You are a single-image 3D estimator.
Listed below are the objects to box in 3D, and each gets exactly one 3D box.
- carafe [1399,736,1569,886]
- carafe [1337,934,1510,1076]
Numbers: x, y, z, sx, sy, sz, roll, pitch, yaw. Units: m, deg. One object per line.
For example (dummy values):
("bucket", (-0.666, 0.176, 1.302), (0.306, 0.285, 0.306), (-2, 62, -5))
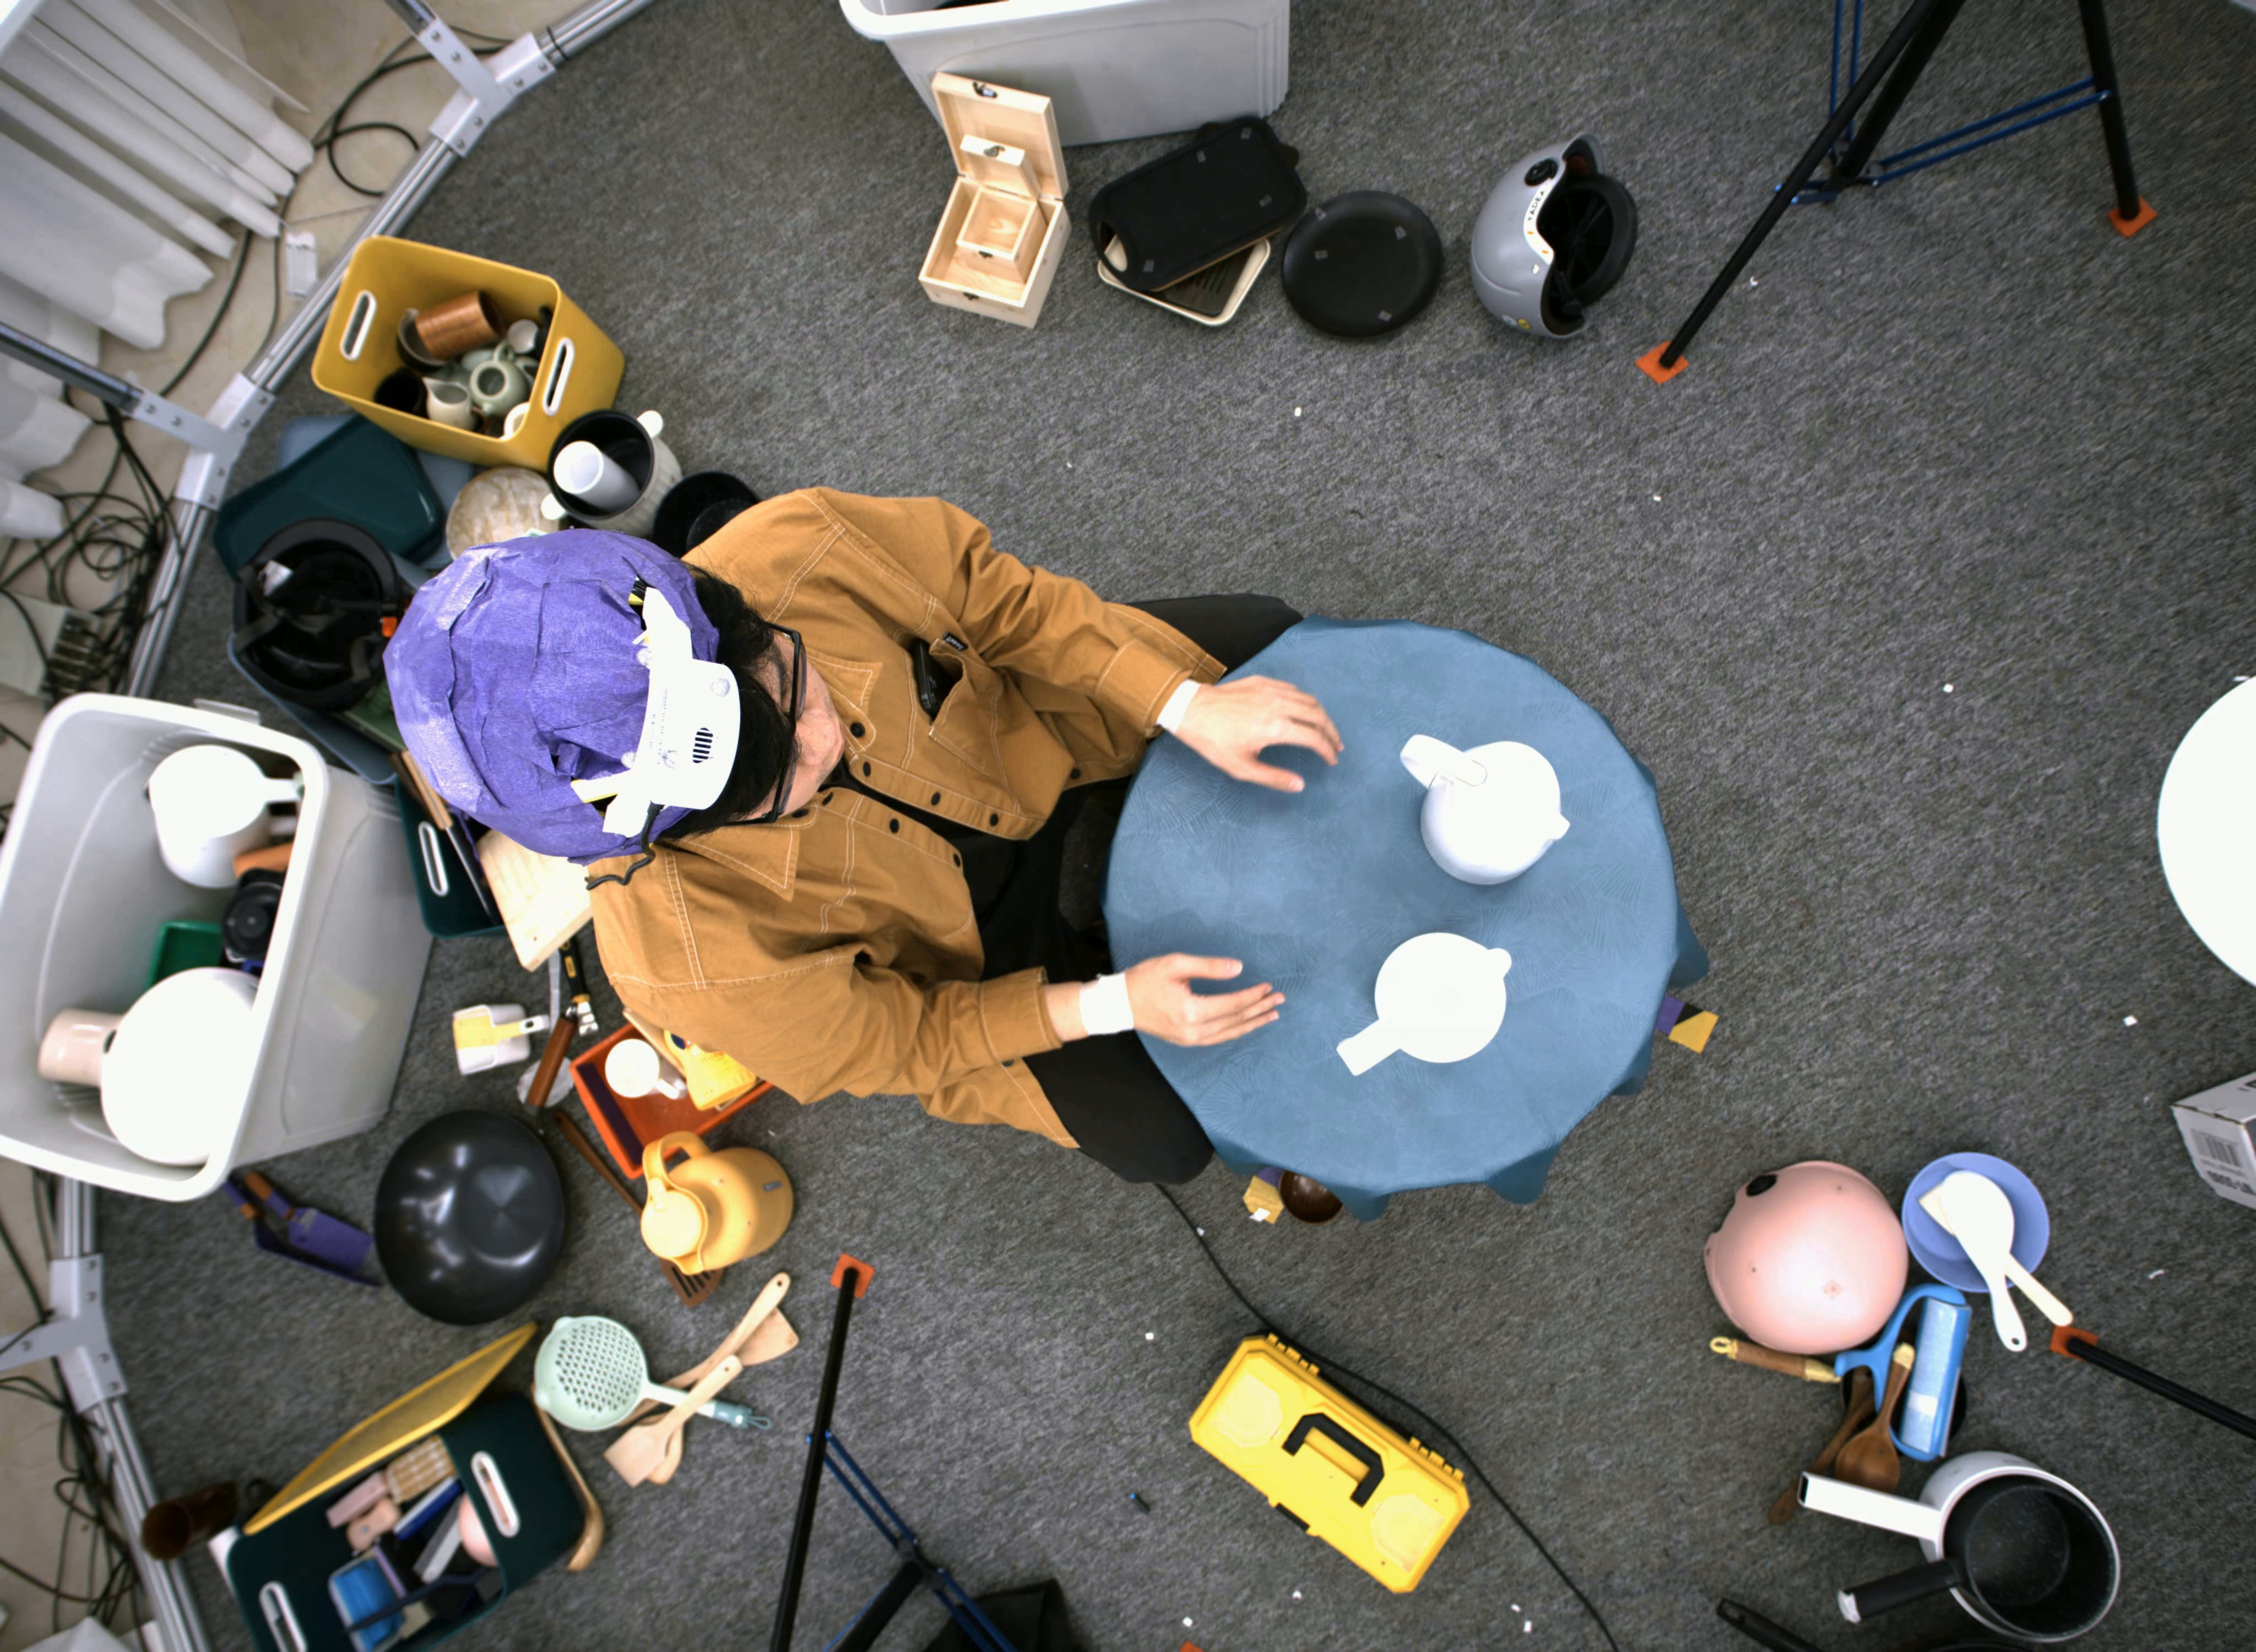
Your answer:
("carafe", (0.337, -0.027, 1.327), (0.167, 0.249, 0.133), (33, 91, 12))
("carafe", (0.280, 0.173, 1.319), (0.174, 0.269, 0.123), (-35, 82, 6))
